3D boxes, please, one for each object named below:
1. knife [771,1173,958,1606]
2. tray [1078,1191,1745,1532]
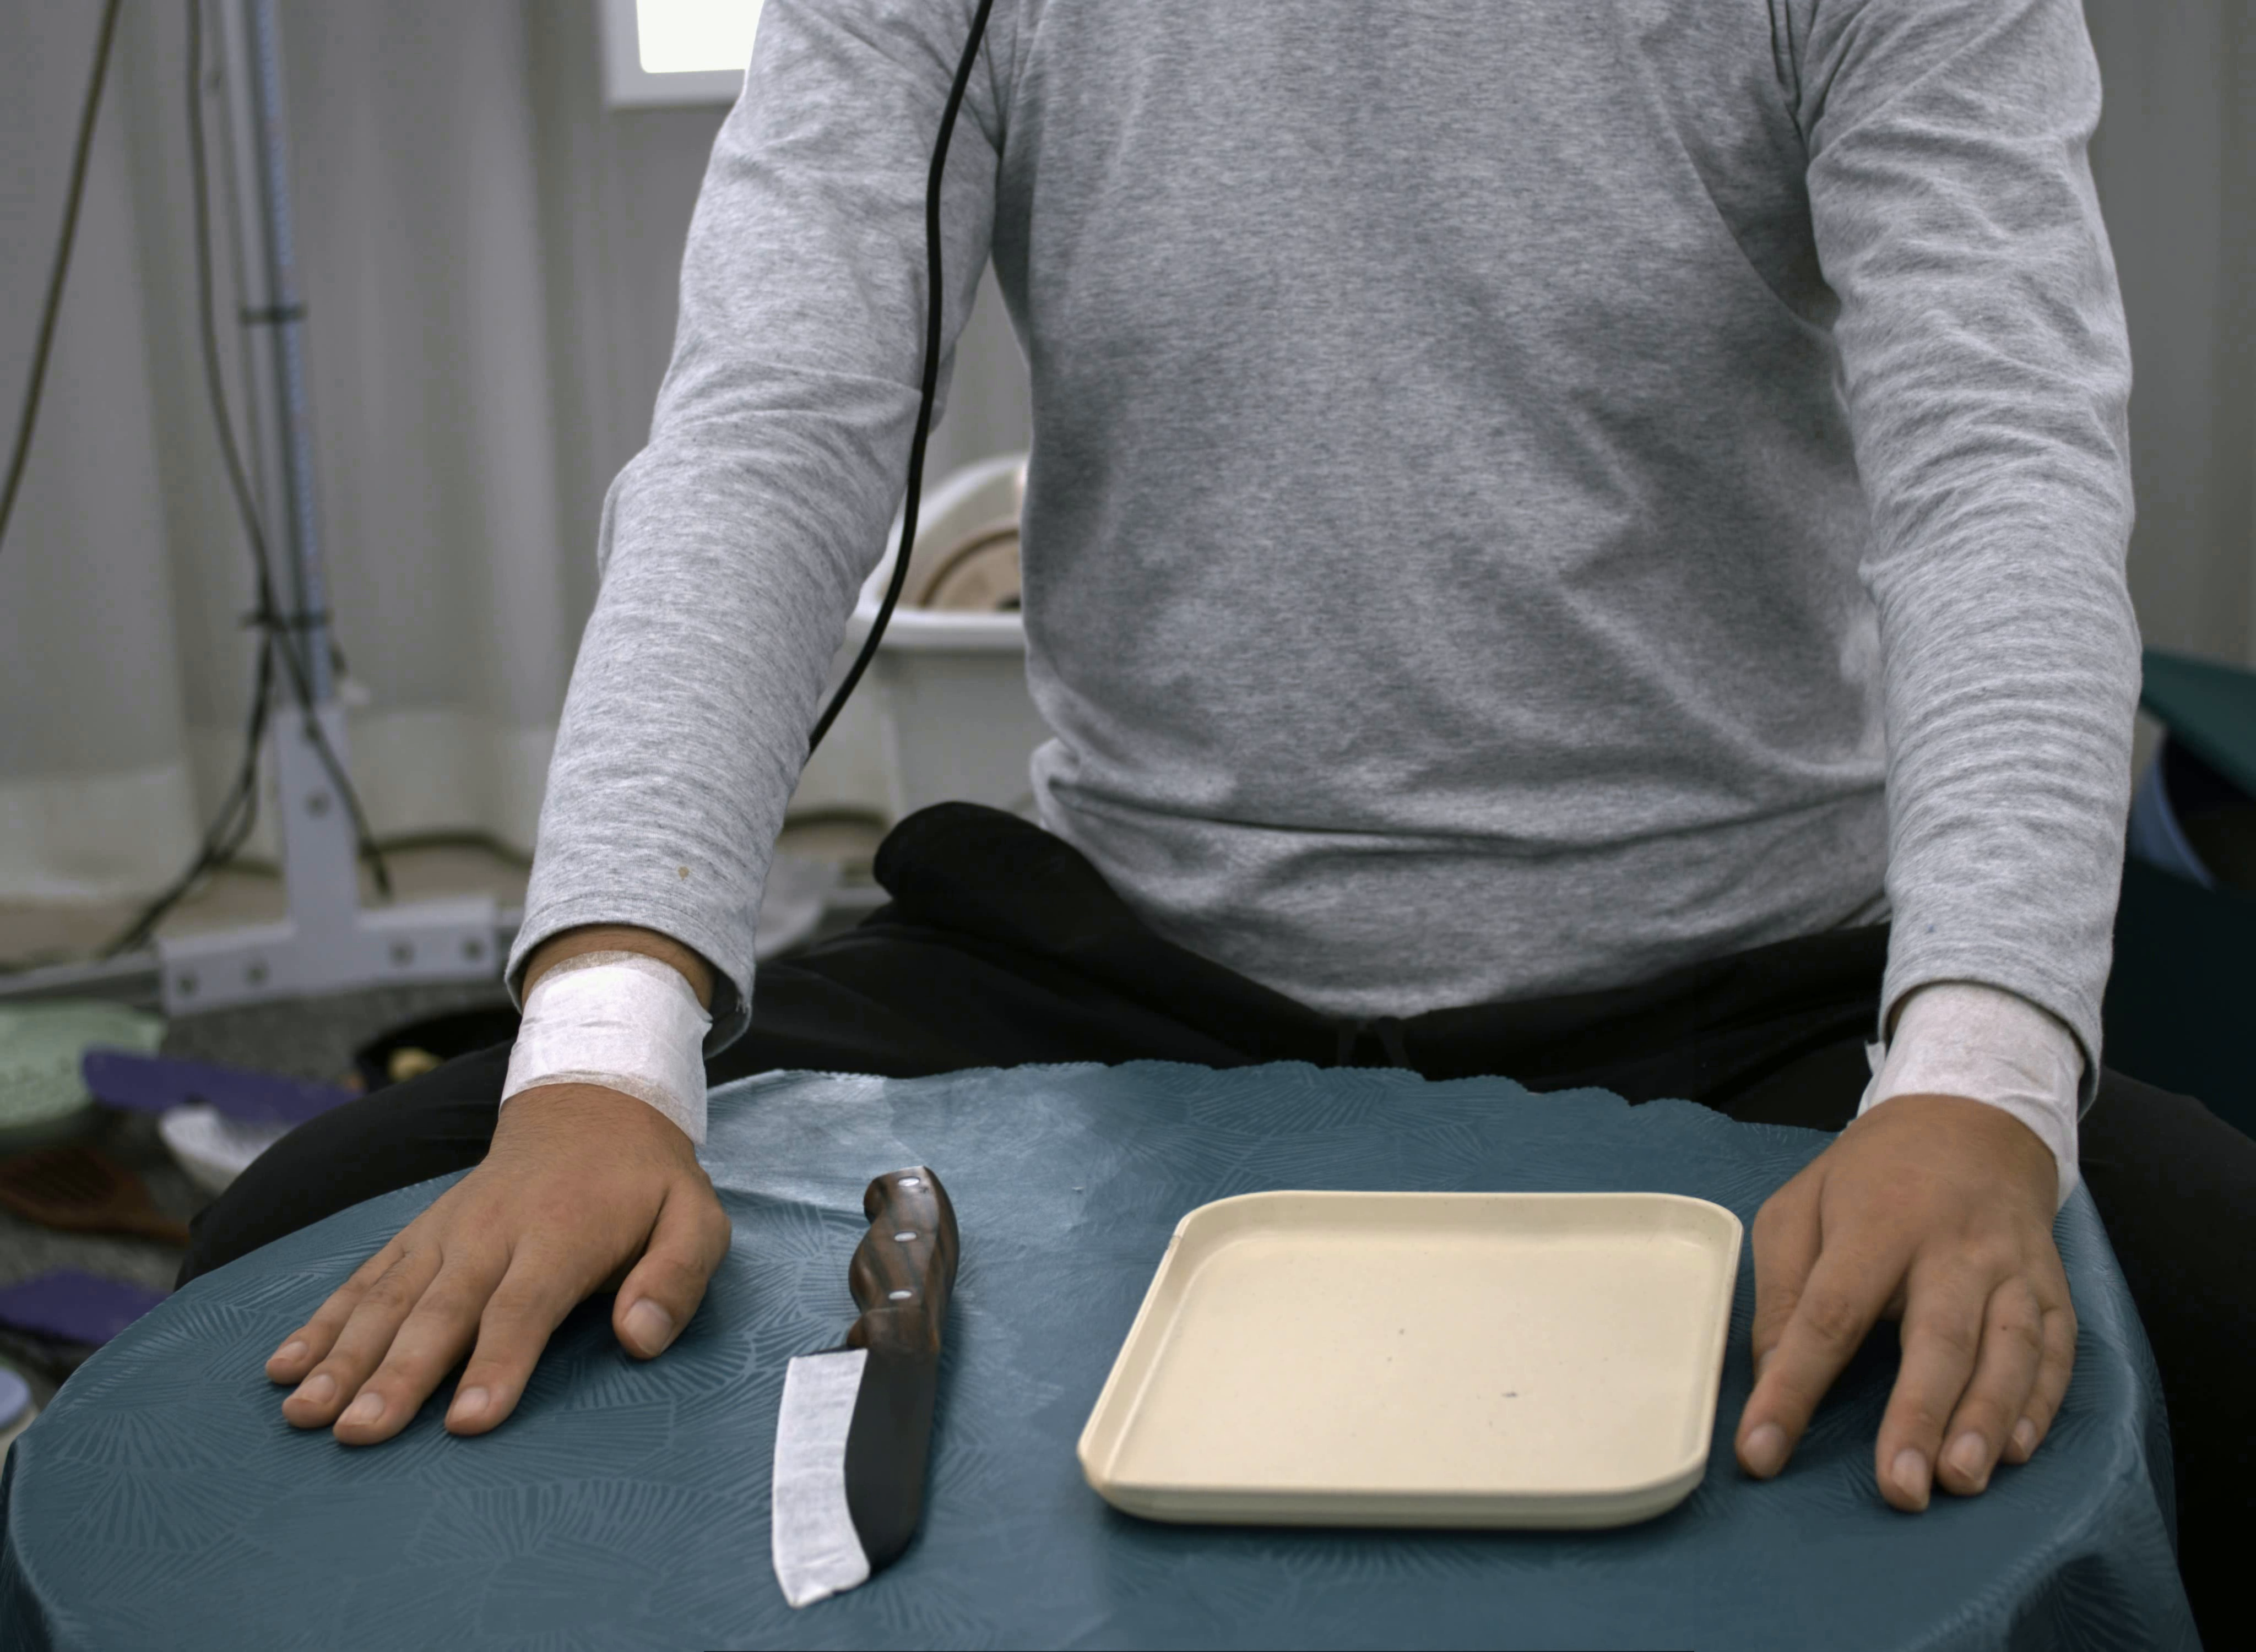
[{"bbox_3d":[-0.073,0.157,1.542,0.050,0.020,0.291,-7,17,5],"label":"knife"},{"bbox_3d":[0.084,0.149,1.538,0.171,0.017,0.241,0,15,10],"label":"tray"}]
